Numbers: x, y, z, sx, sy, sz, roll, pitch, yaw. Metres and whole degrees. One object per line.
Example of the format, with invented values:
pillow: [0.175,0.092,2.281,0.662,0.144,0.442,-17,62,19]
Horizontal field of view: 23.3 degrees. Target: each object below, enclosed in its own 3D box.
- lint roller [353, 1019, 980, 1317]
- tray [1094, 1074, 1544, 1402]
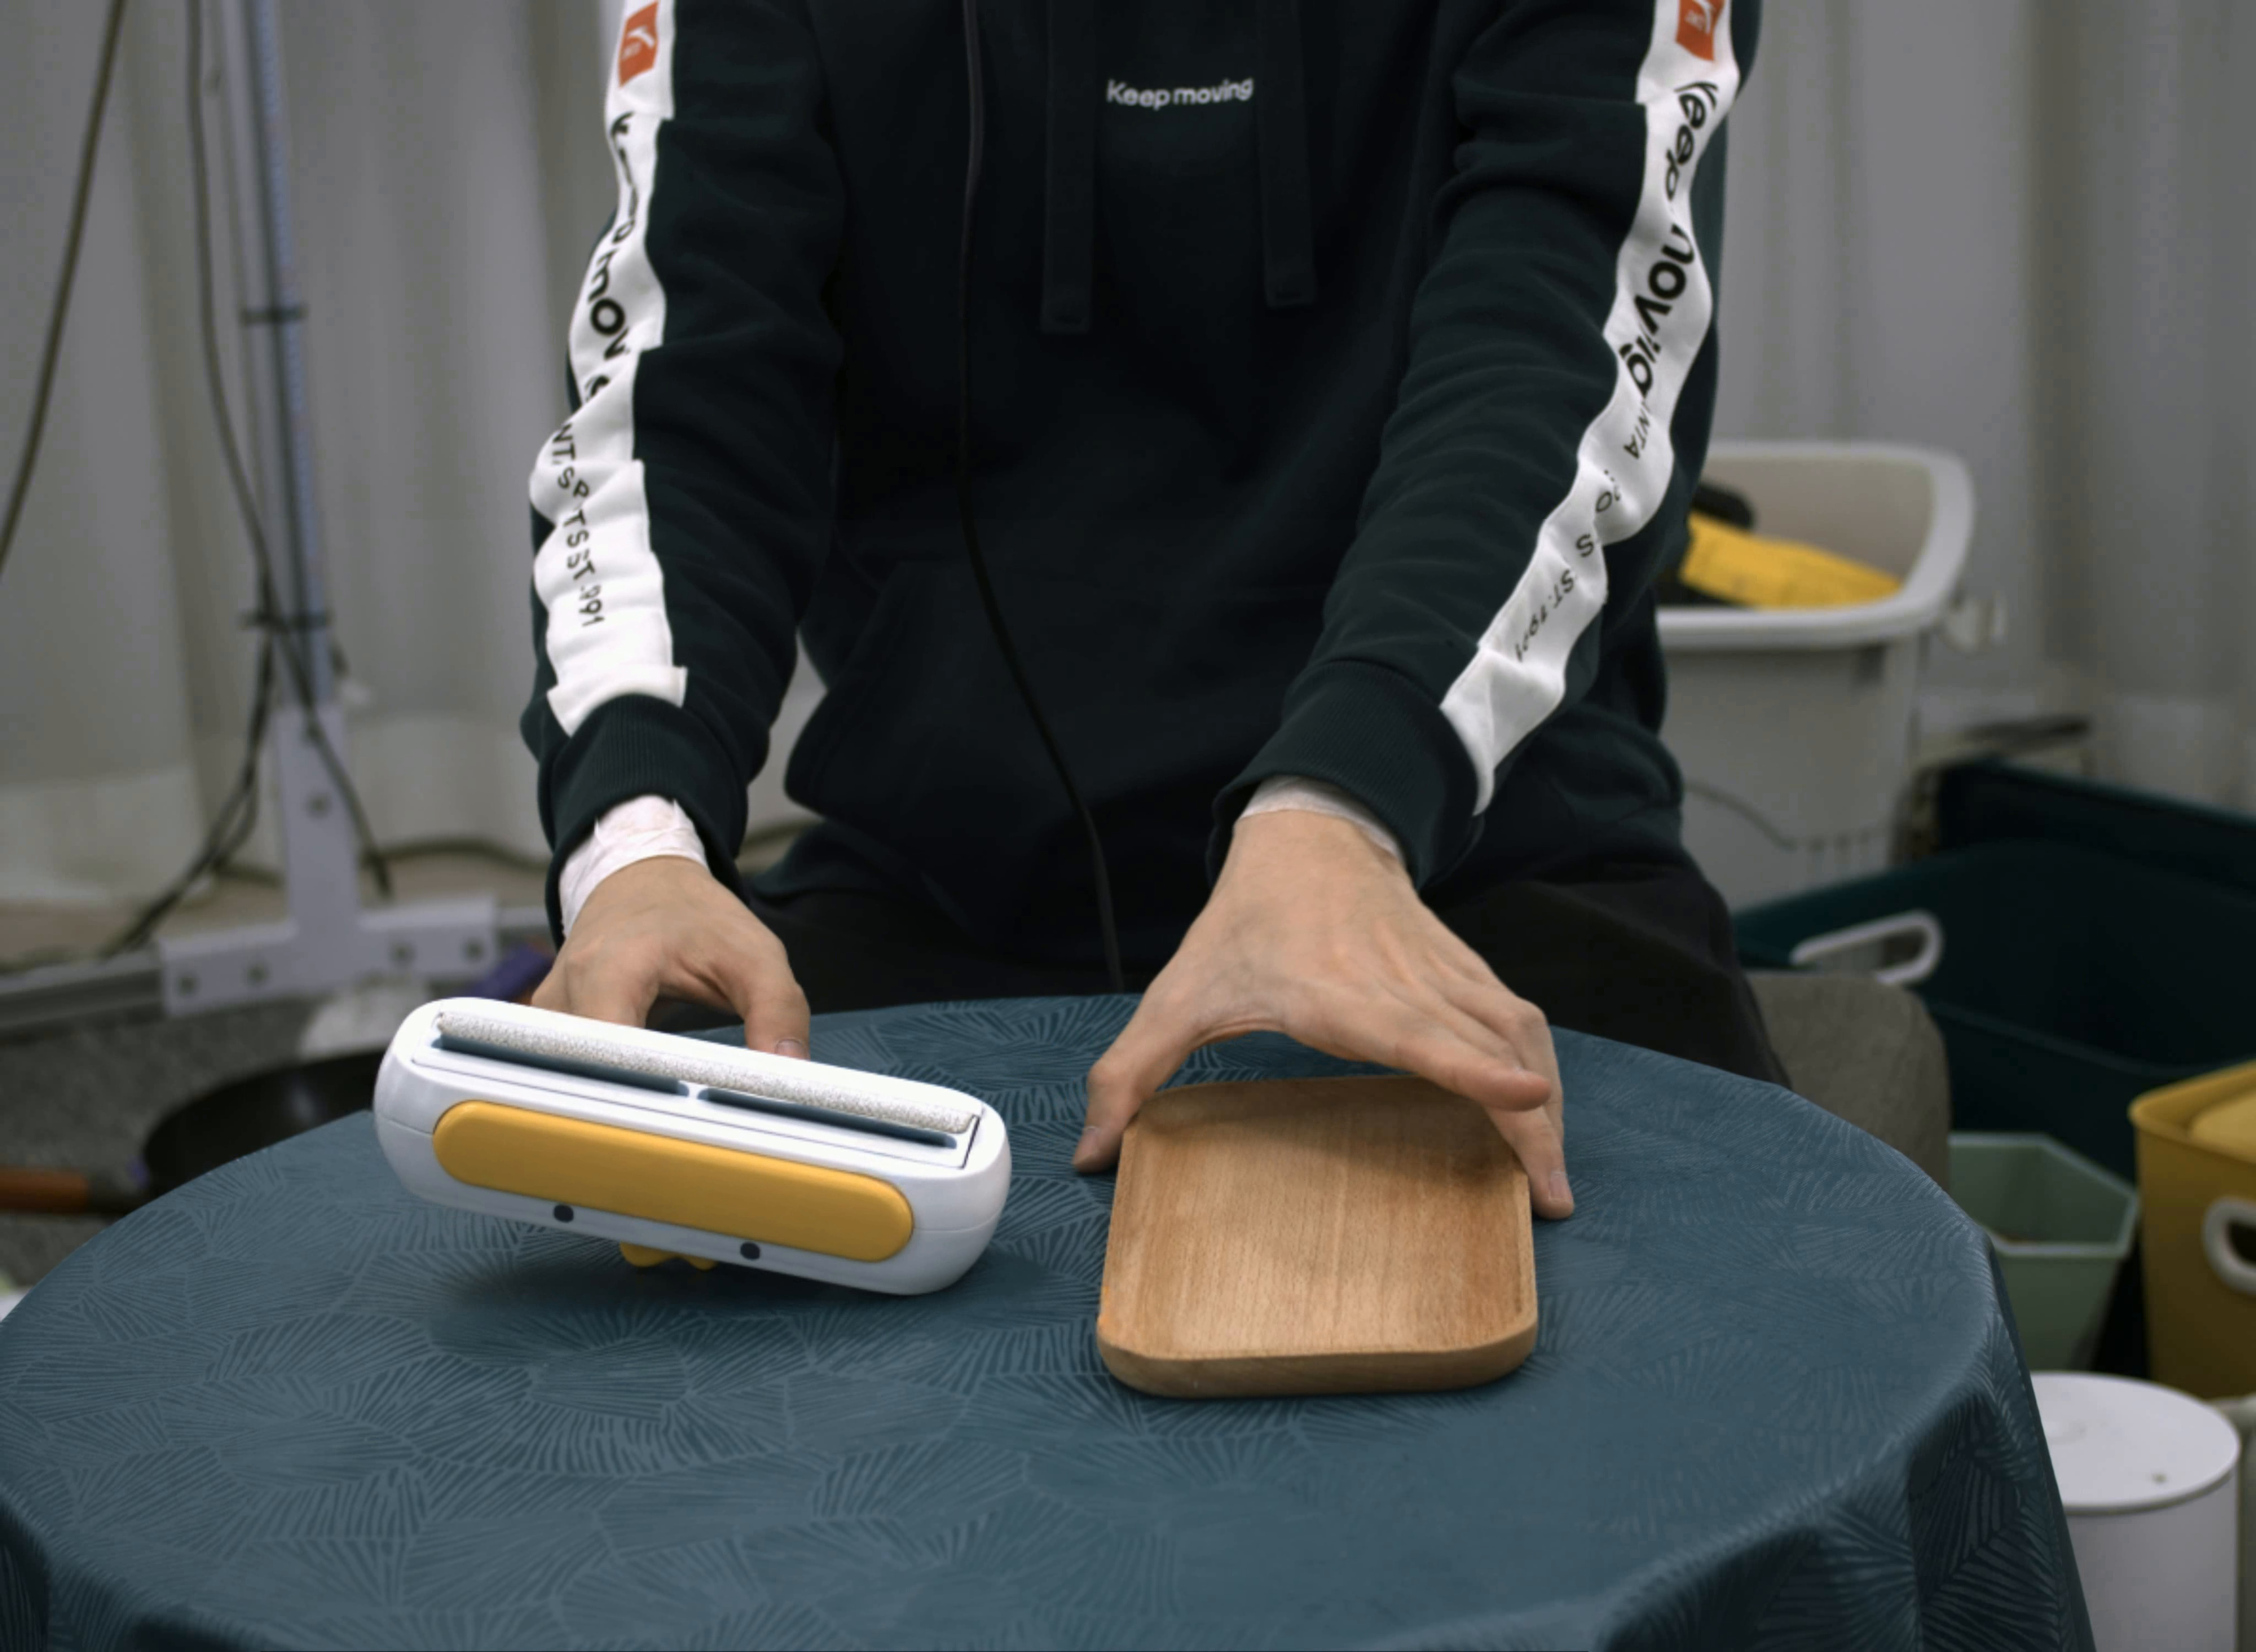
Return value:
lint roller: [-0.131,0.108,1.706,0.193,0.074,0.192,9,2,10]
tray: [0.058,0.121,1.646,0.130,0.023,0.252,0,15,3]
